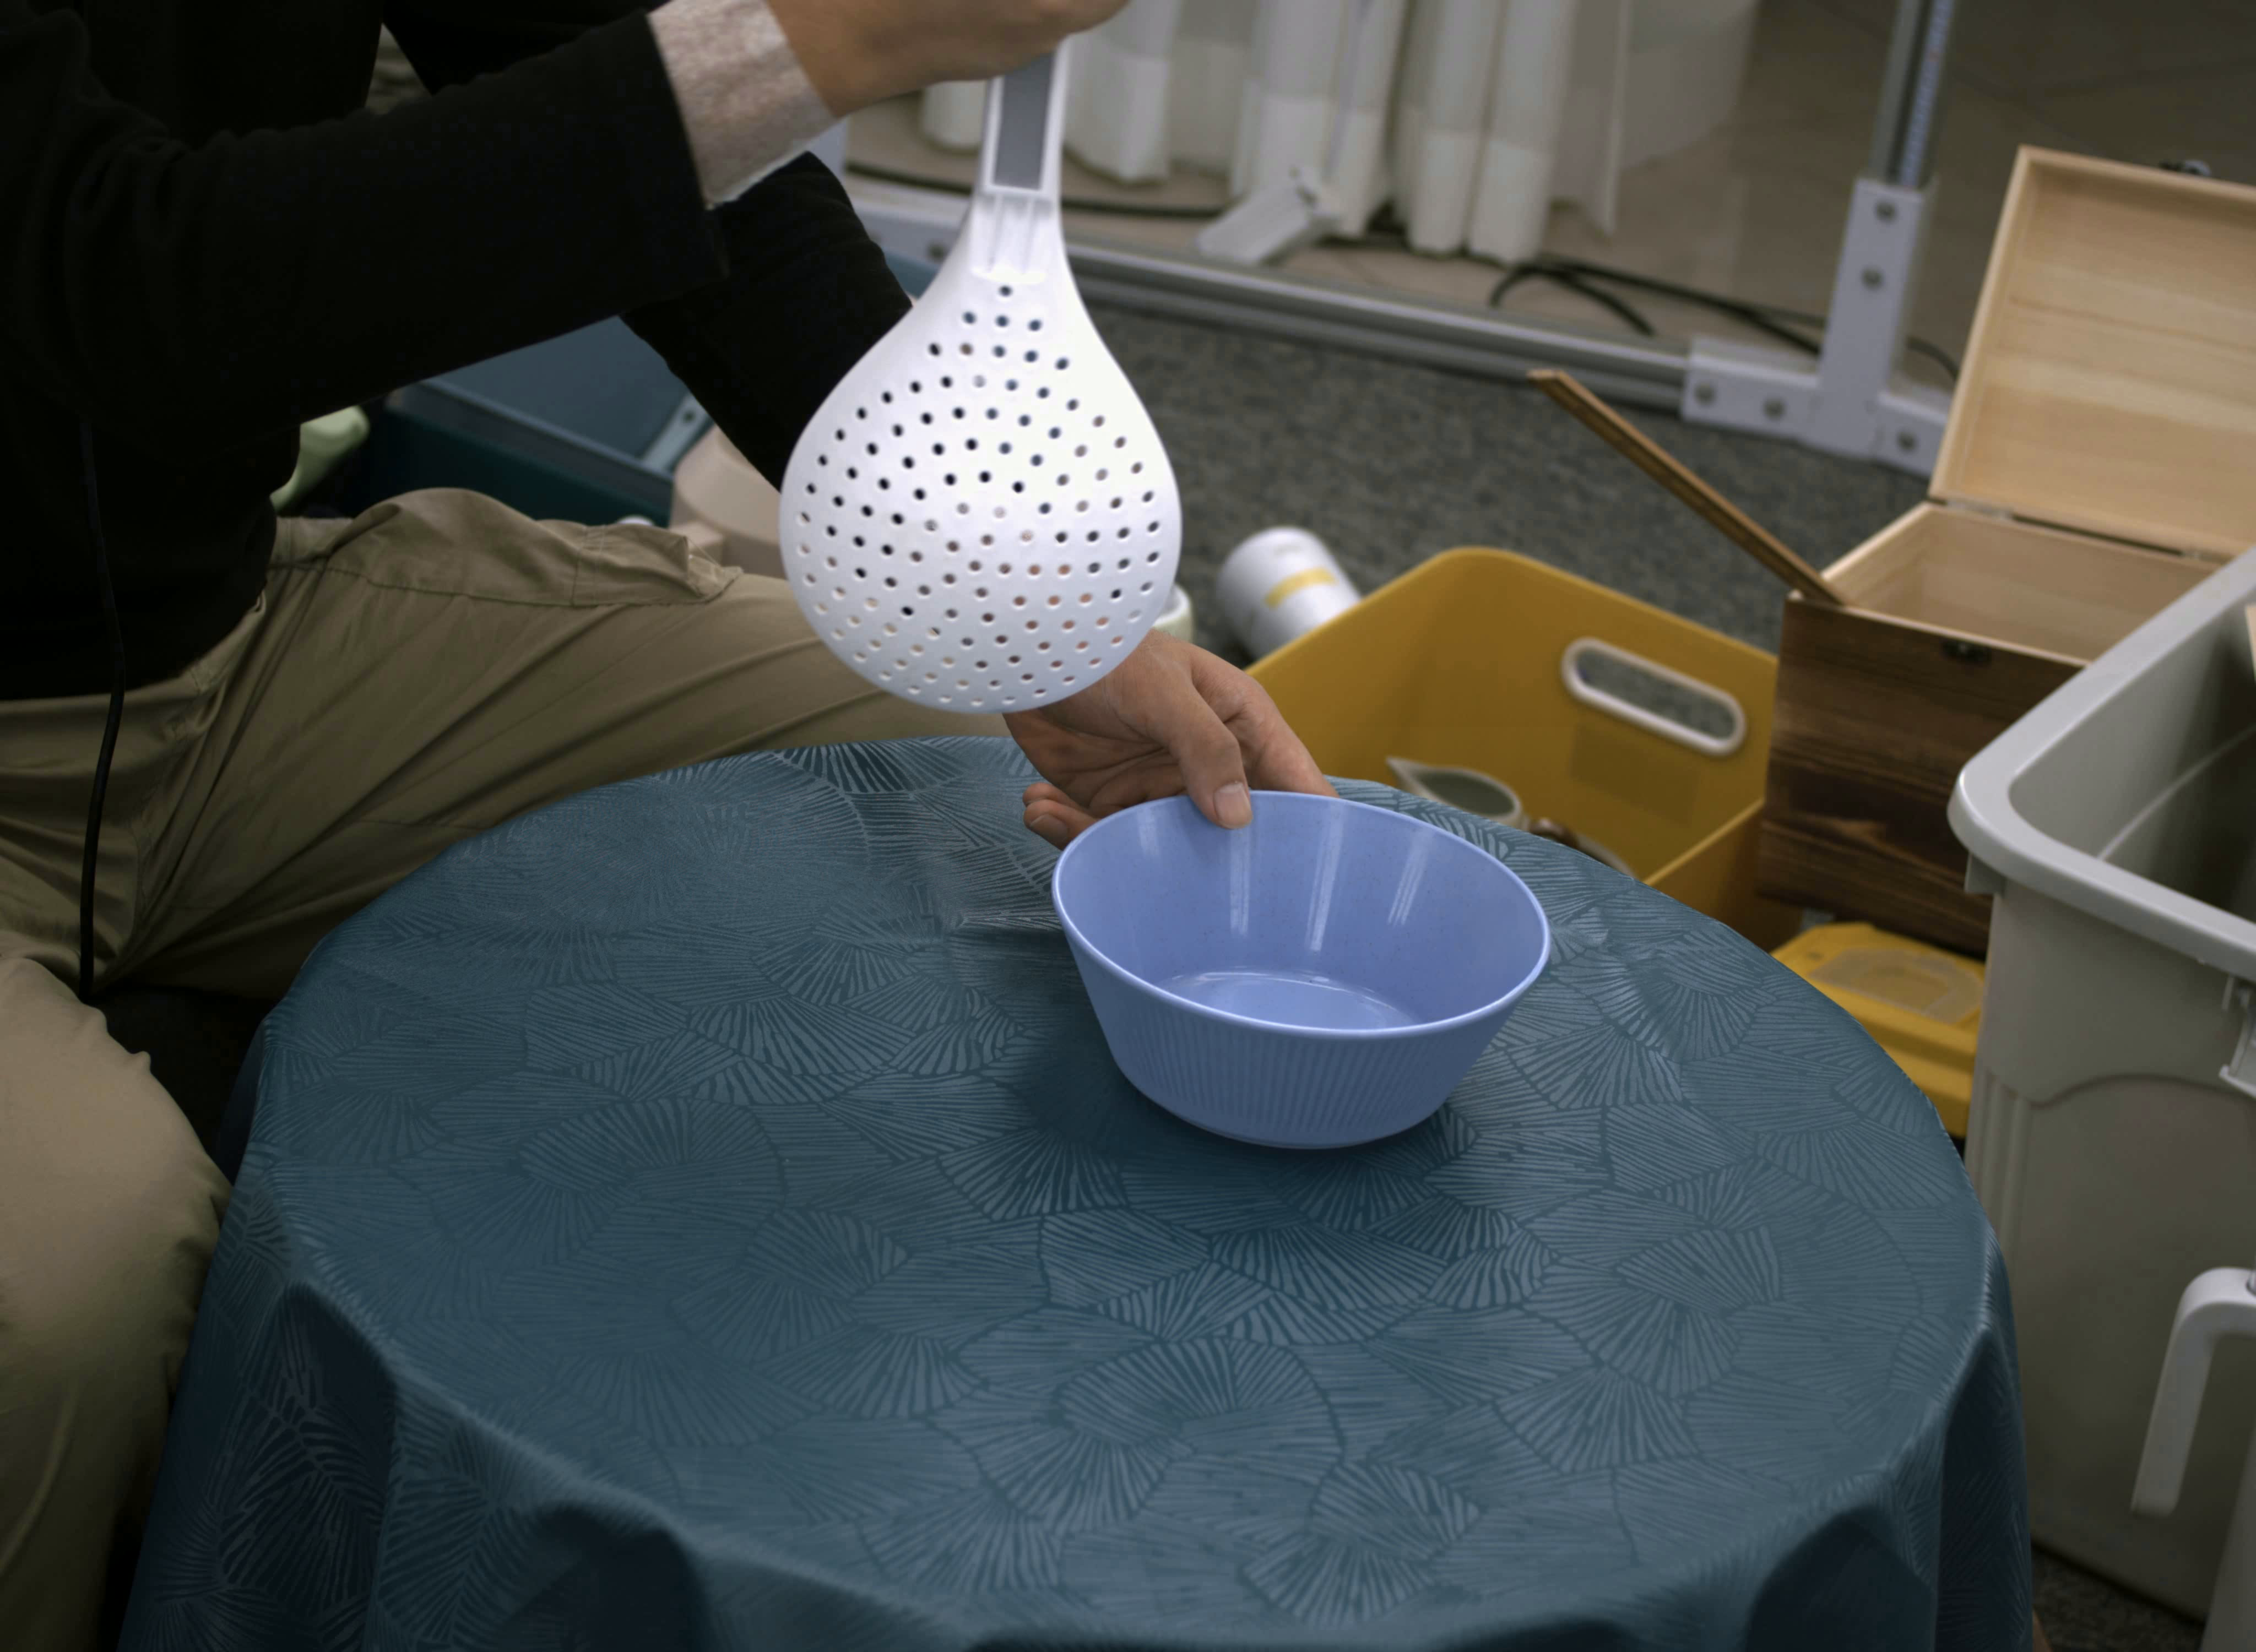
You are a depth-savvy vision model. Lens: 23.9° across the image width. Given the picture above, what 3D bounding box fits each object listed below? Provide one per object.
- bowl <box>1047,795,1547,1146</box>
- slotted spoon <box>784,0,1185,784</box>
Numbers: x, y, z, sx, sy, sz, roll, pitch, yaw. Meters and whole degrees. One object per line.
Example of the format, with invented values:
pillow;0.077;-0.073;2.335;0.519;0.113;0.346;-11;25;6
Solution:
bowl;0.056;0.056;1.870;0.175;0.070;0.177;4;26;-2
slotted spoon;-0.043;-0.177;1.728;0.136;0.349;0.046;6;16;8
